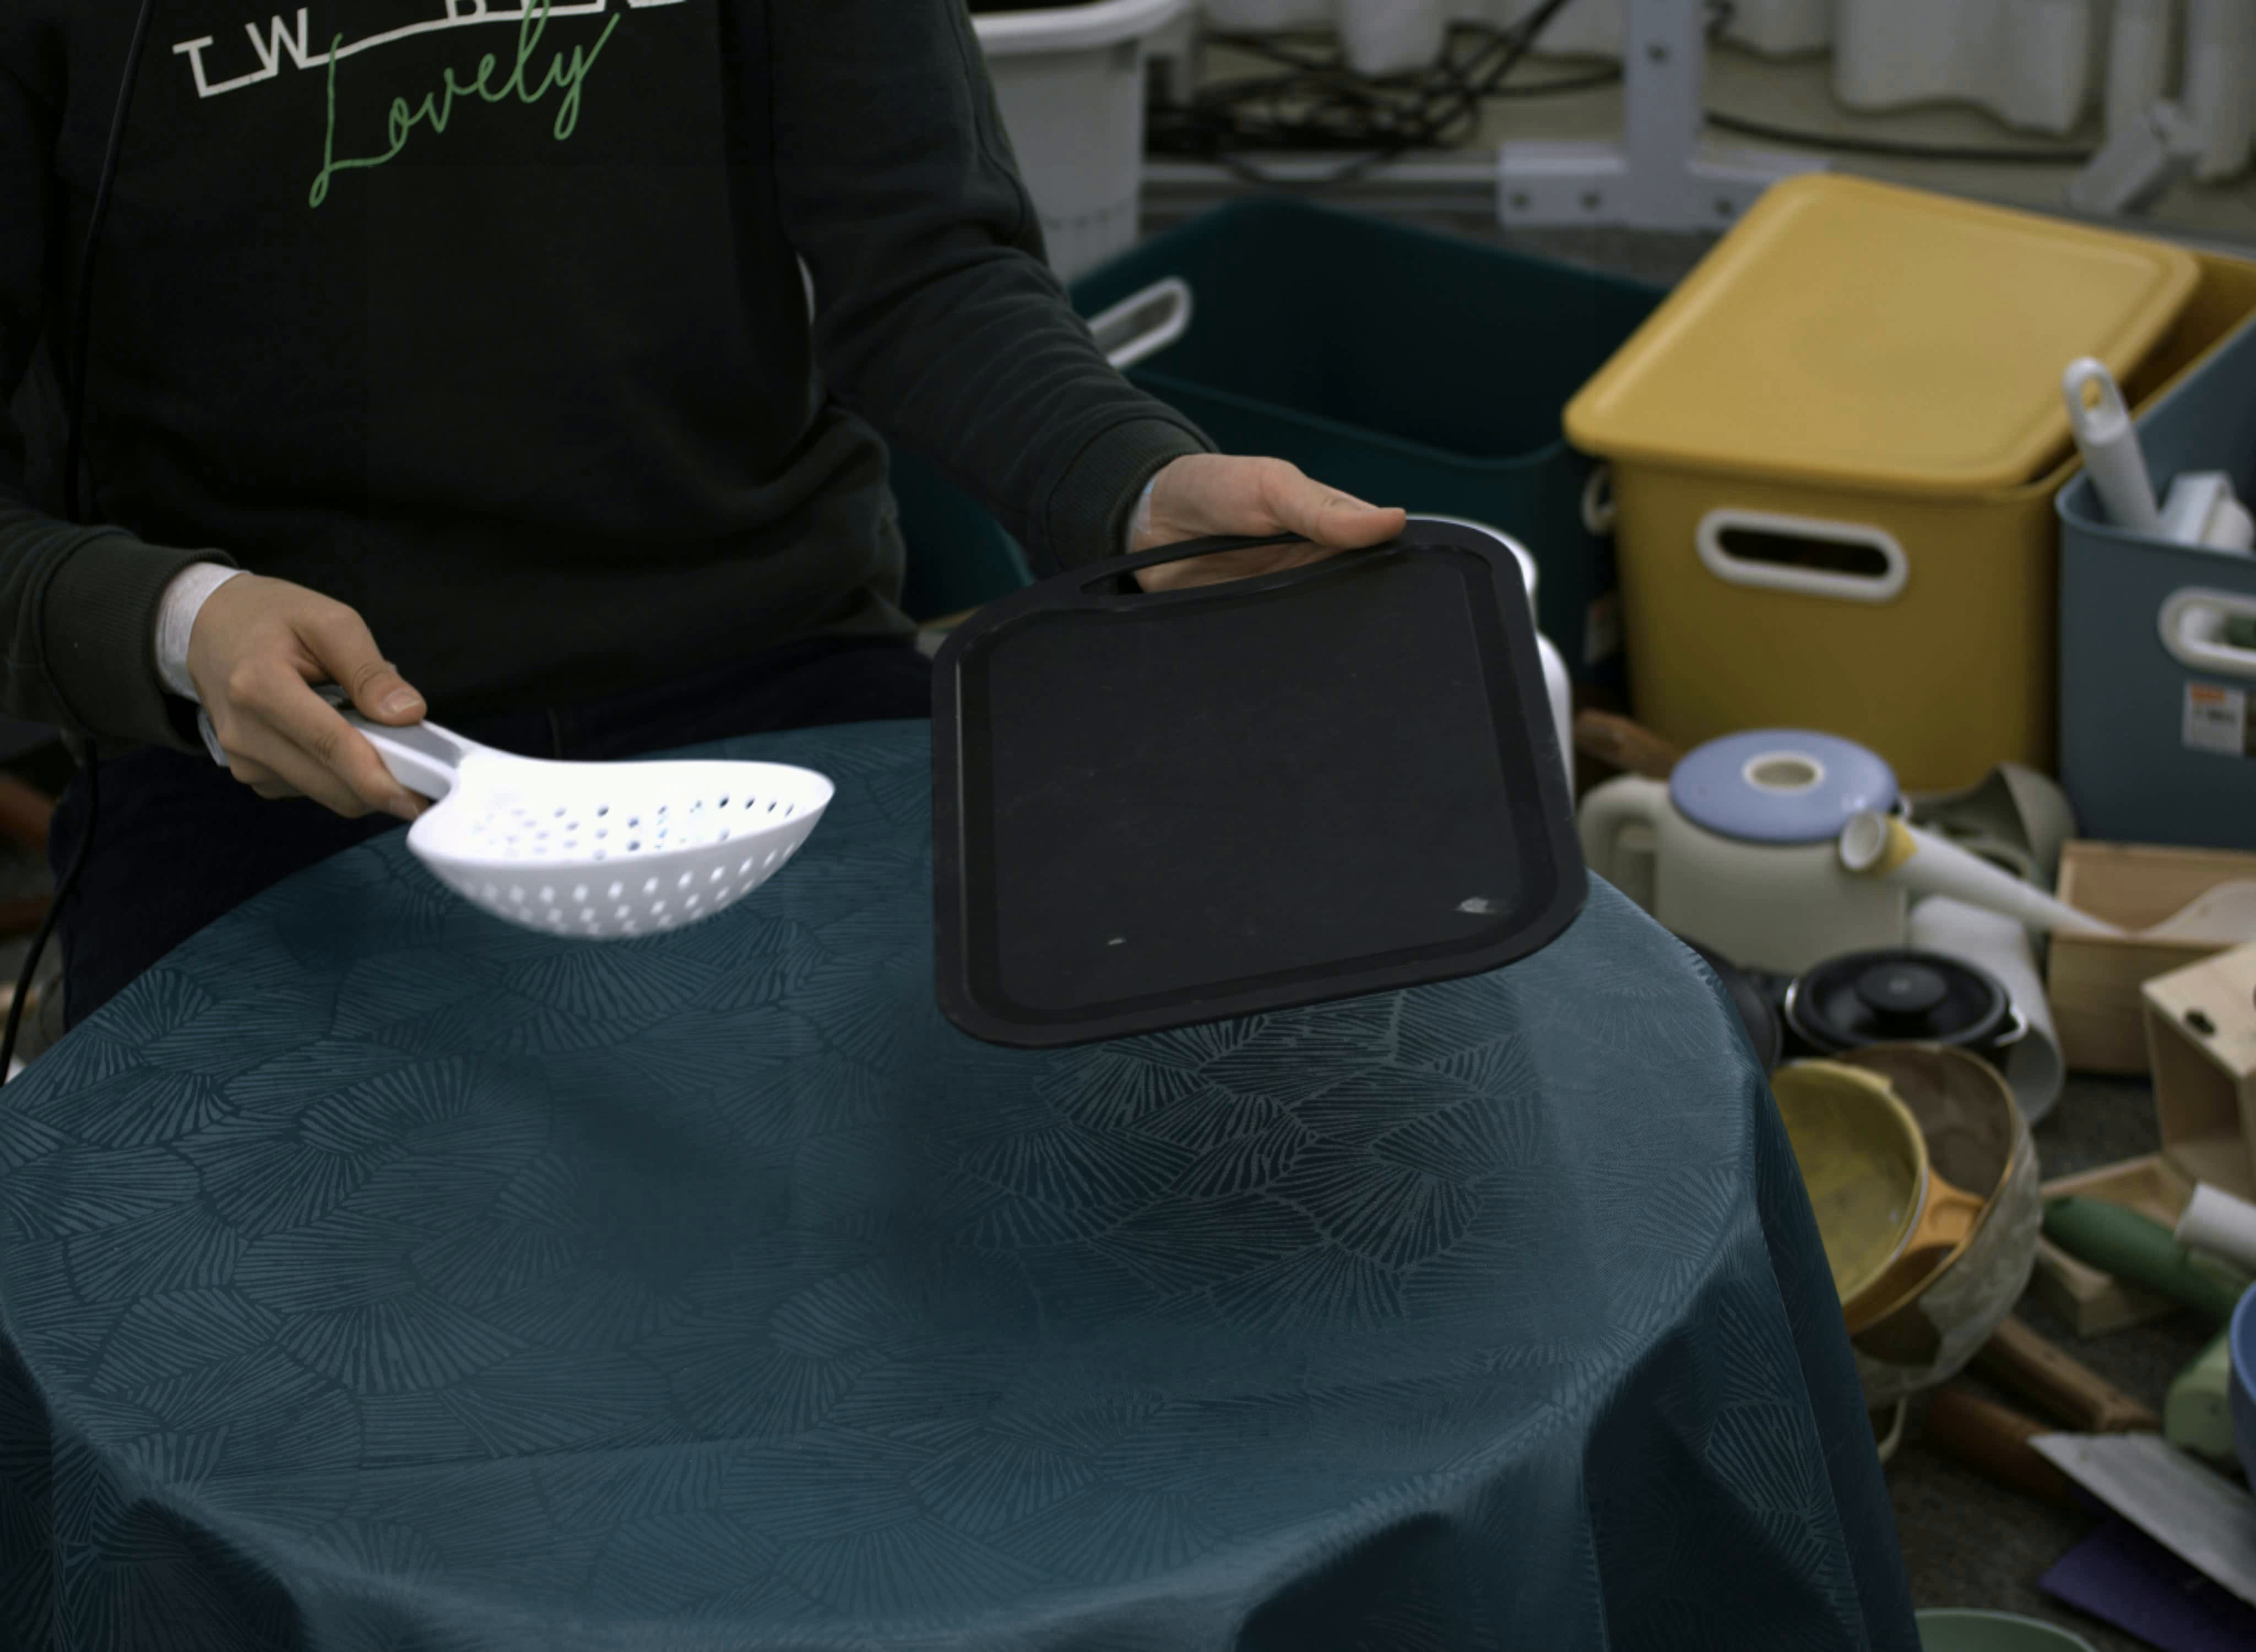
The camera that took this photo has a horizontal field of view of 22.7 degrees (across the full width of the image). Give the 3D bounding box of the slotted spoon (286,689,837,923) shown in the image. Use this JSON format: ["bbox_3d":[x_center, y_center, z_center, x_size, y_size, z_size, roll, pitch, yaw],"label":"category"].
[{"bbox_3d":[-0.212,-0.016,1.891,0.136,0.045,0.349,-9,17,-28],"label":"slotted spoon"}]

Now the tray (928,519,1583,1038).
[{"bbox_3d":[0.037,-0.025,1.873,0.210,0.009,0.330,-9,29,3],"label":"tray"}]
